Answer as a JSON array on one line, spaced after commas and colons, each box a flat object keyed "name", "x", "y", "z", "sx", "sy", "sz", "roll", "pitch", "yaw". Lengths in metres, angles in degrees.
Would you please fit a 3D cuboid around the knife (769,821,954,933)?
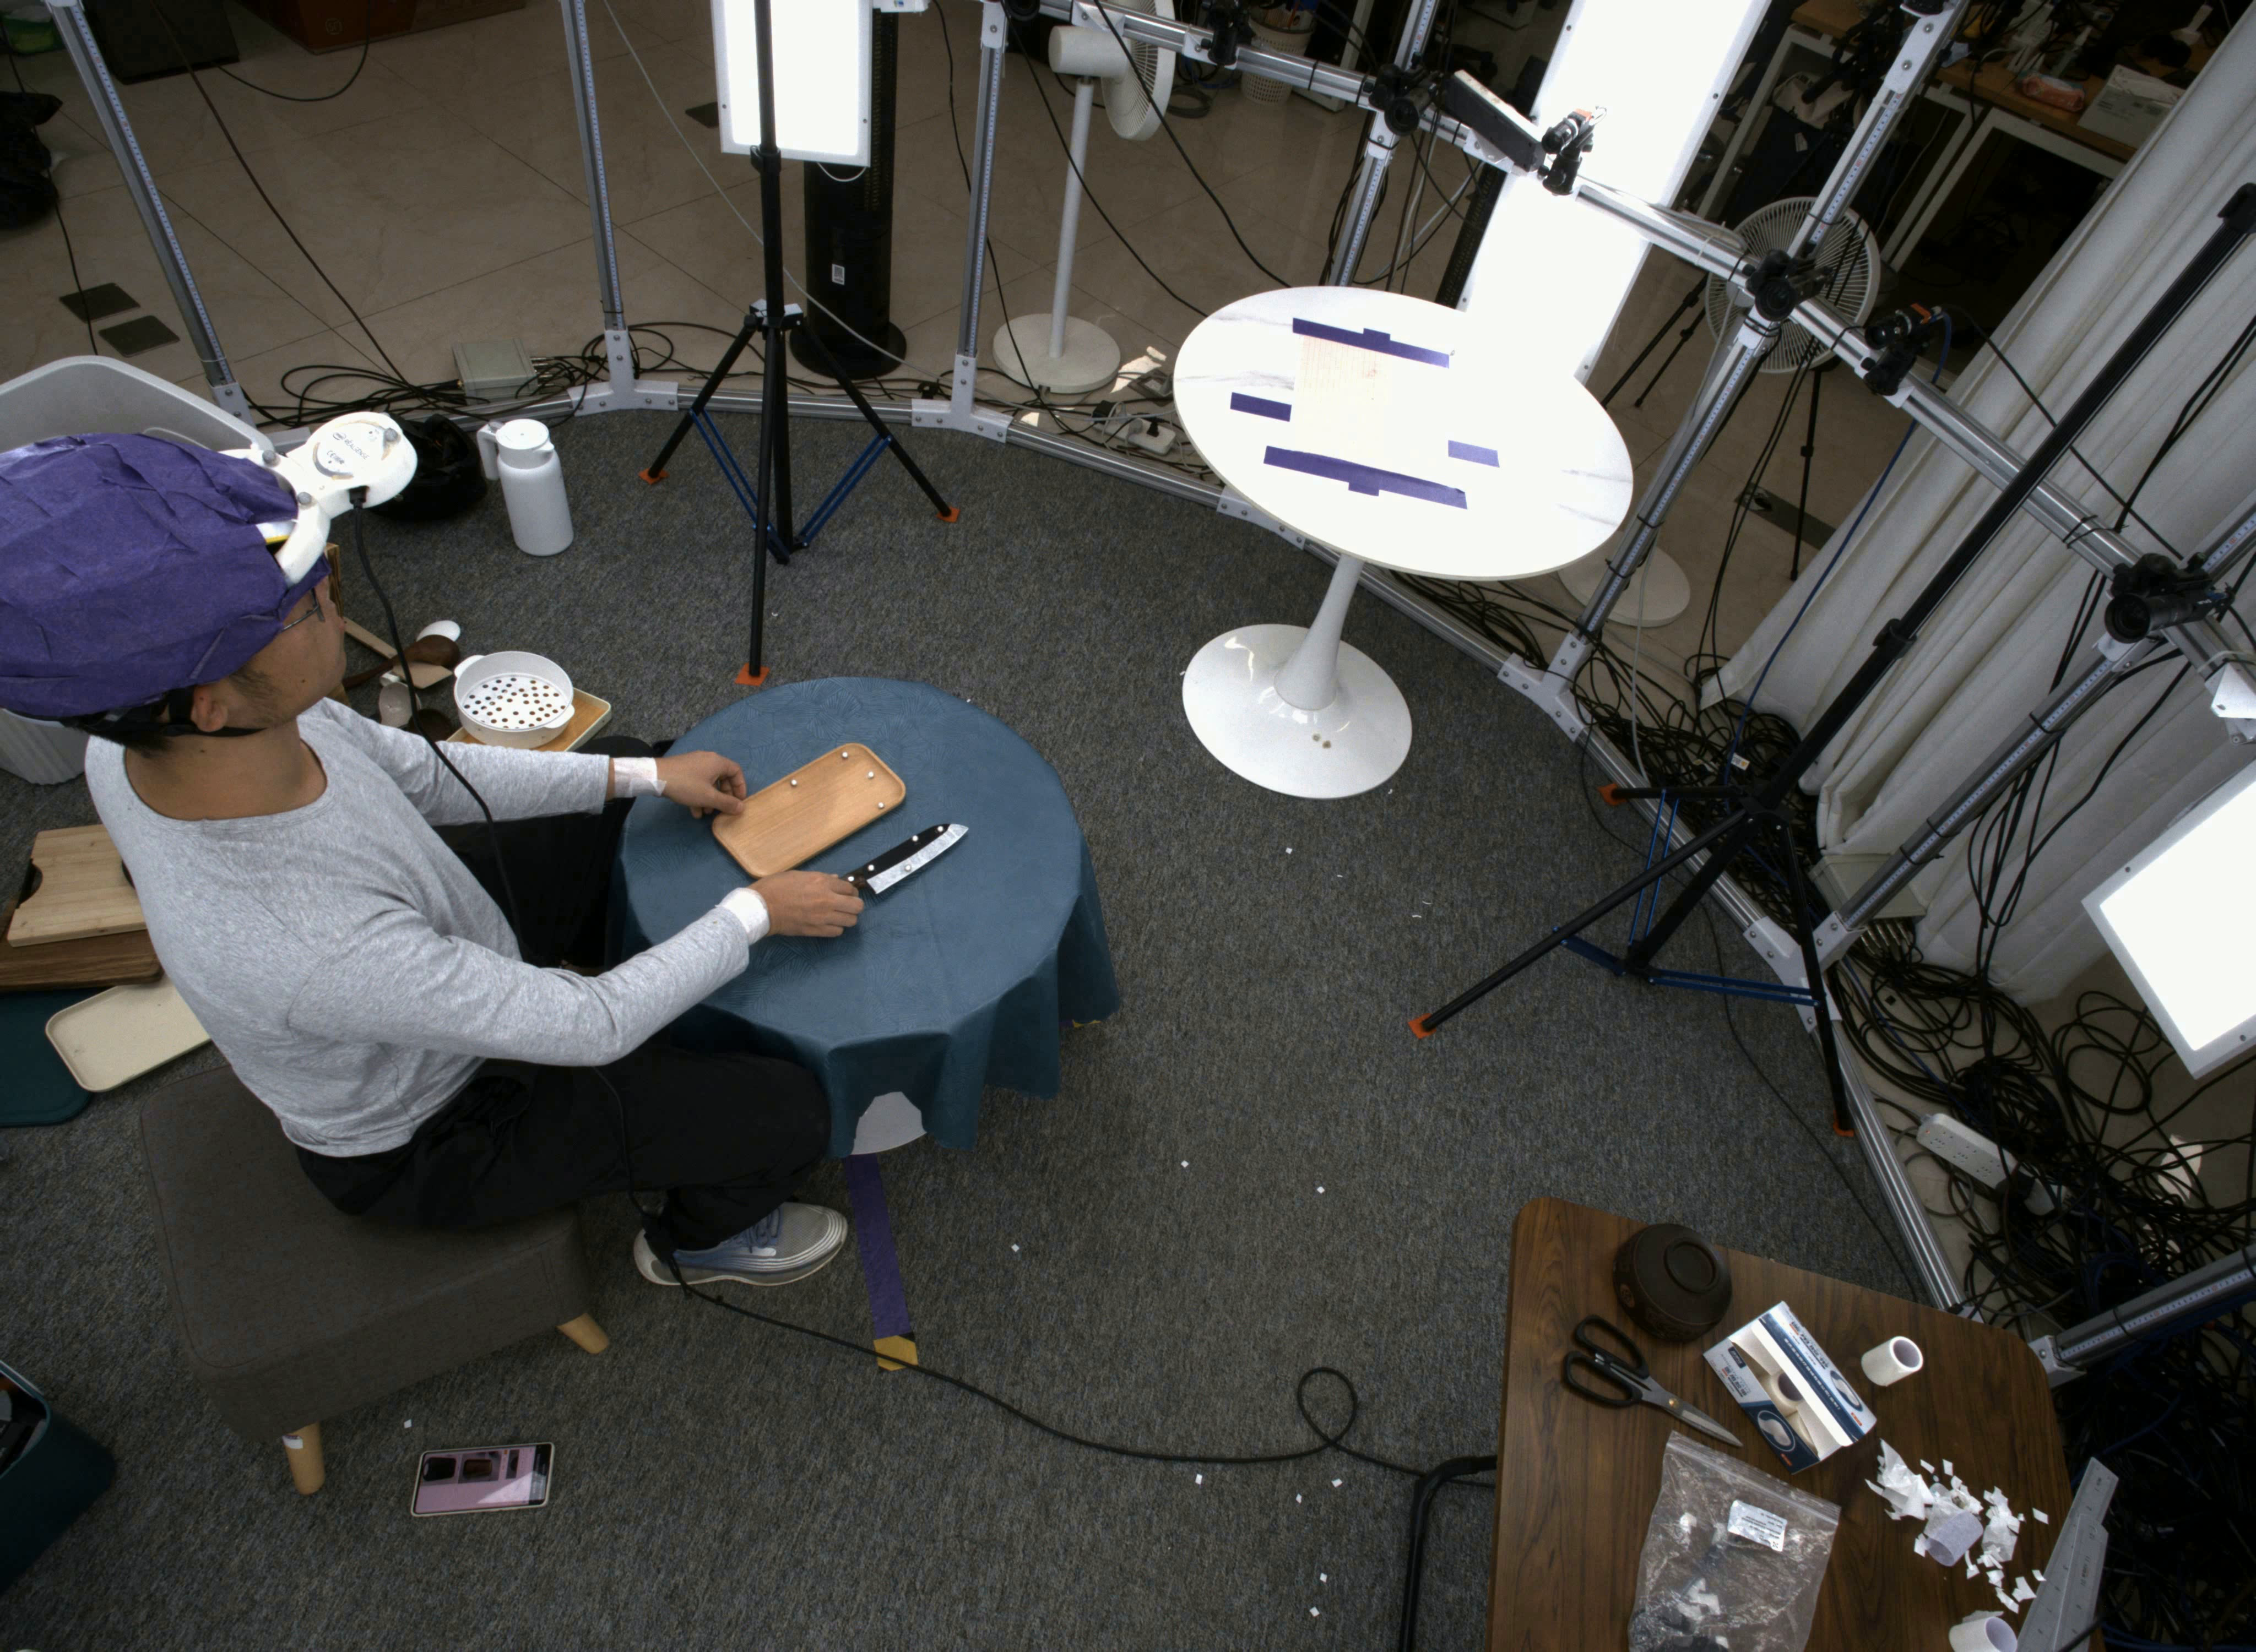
[{"name": "knife", "x": -0.339, "y": 0.060, "z": 1.685, "sx": 0.290, "sy": 0.020, "sz": 0.049, "roll": -32, "pitch": 76, "yaw": -35}]

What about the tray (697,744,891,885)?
[{"name": "tray", "x": -0.444, "y": -0.019, "z": 1.734, "sx": 0.251, "sy": 0.023, "sz": 0.127, "roll": -35, "pitch": 66, "yaw": -32}]
